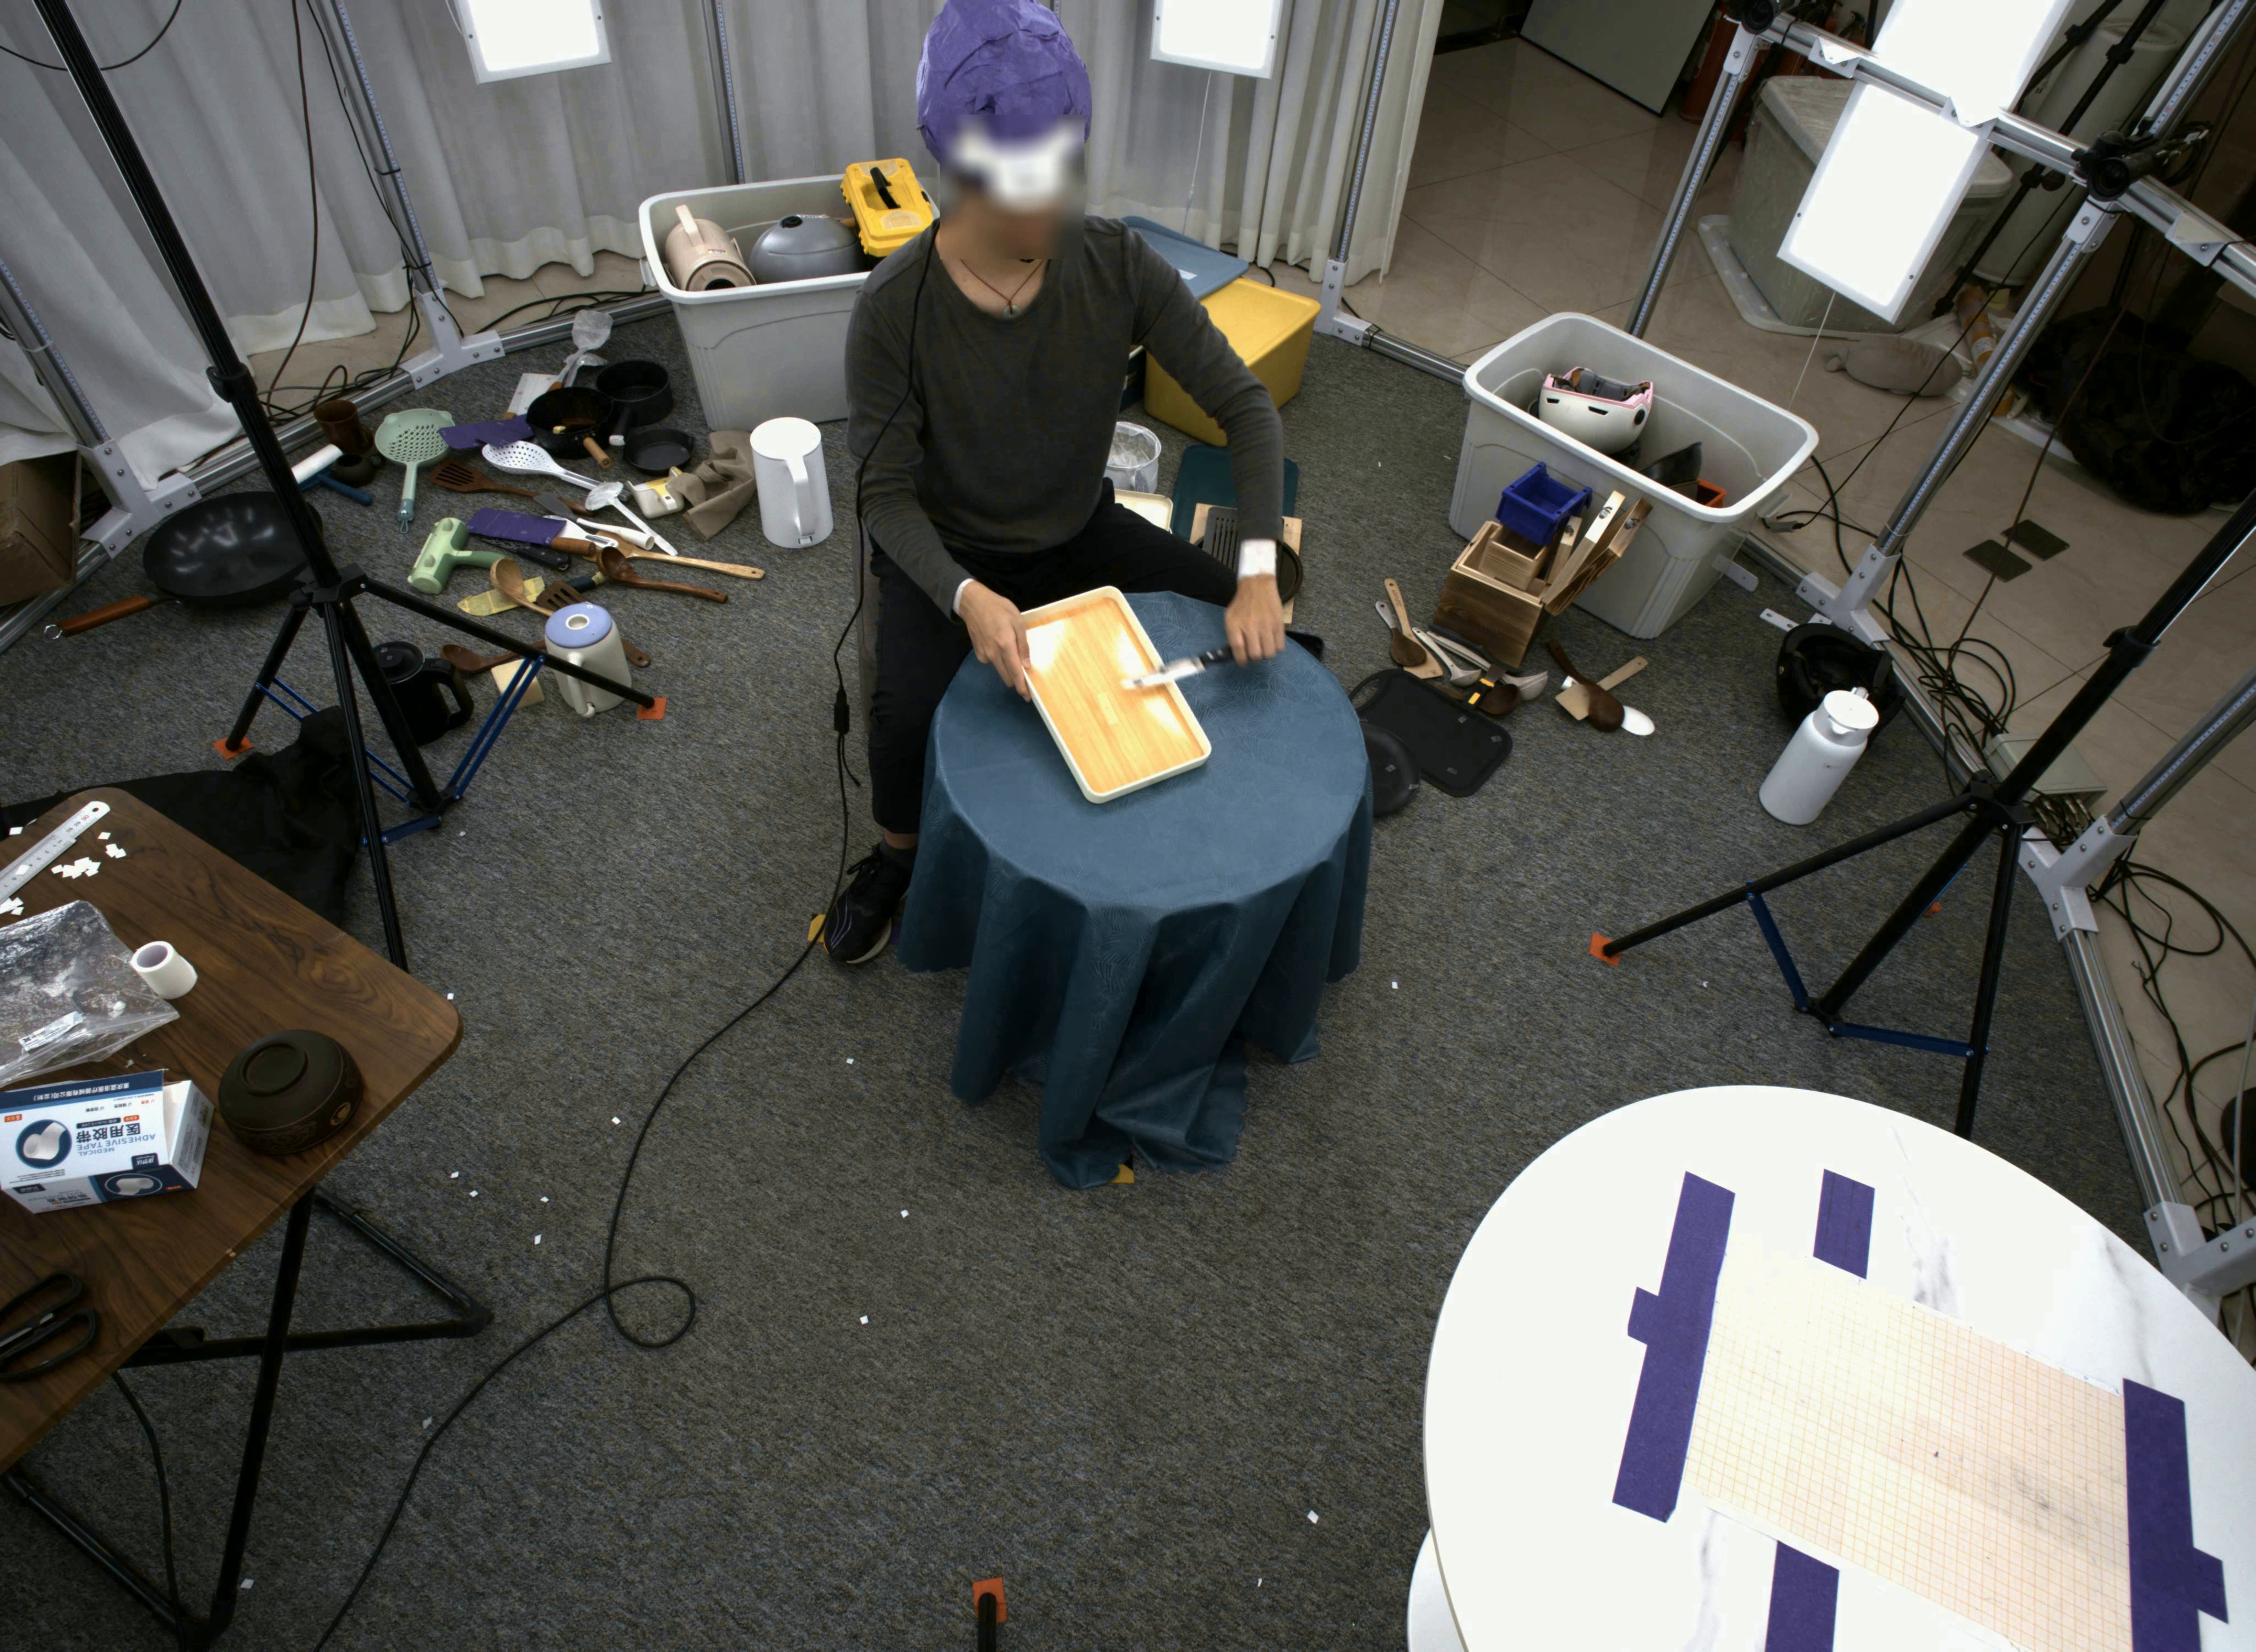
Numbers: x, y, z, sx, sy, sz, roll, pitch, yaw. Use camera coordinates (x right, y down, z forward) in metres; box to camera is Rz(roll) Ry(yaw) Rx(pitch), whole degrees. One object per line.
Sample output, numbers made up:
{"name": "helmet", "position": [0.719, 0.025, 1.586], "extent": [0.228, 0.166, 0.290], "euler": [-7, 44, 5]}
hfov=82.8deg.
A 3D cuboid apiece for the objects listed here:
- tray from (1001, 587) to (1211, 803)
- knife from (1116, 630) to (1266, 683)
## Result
{"name": "tray", "position": [-0.032, -0.185, 1.761], "extent": [0.192, 0.027, 0.305], "euler": [-20, 68, -21]}
{"name": "knife", "position": [0.088, -0.237, 1.797], "extent": [0.238, 0.016, 0.025], "euler": [-19, 69, -19]}
